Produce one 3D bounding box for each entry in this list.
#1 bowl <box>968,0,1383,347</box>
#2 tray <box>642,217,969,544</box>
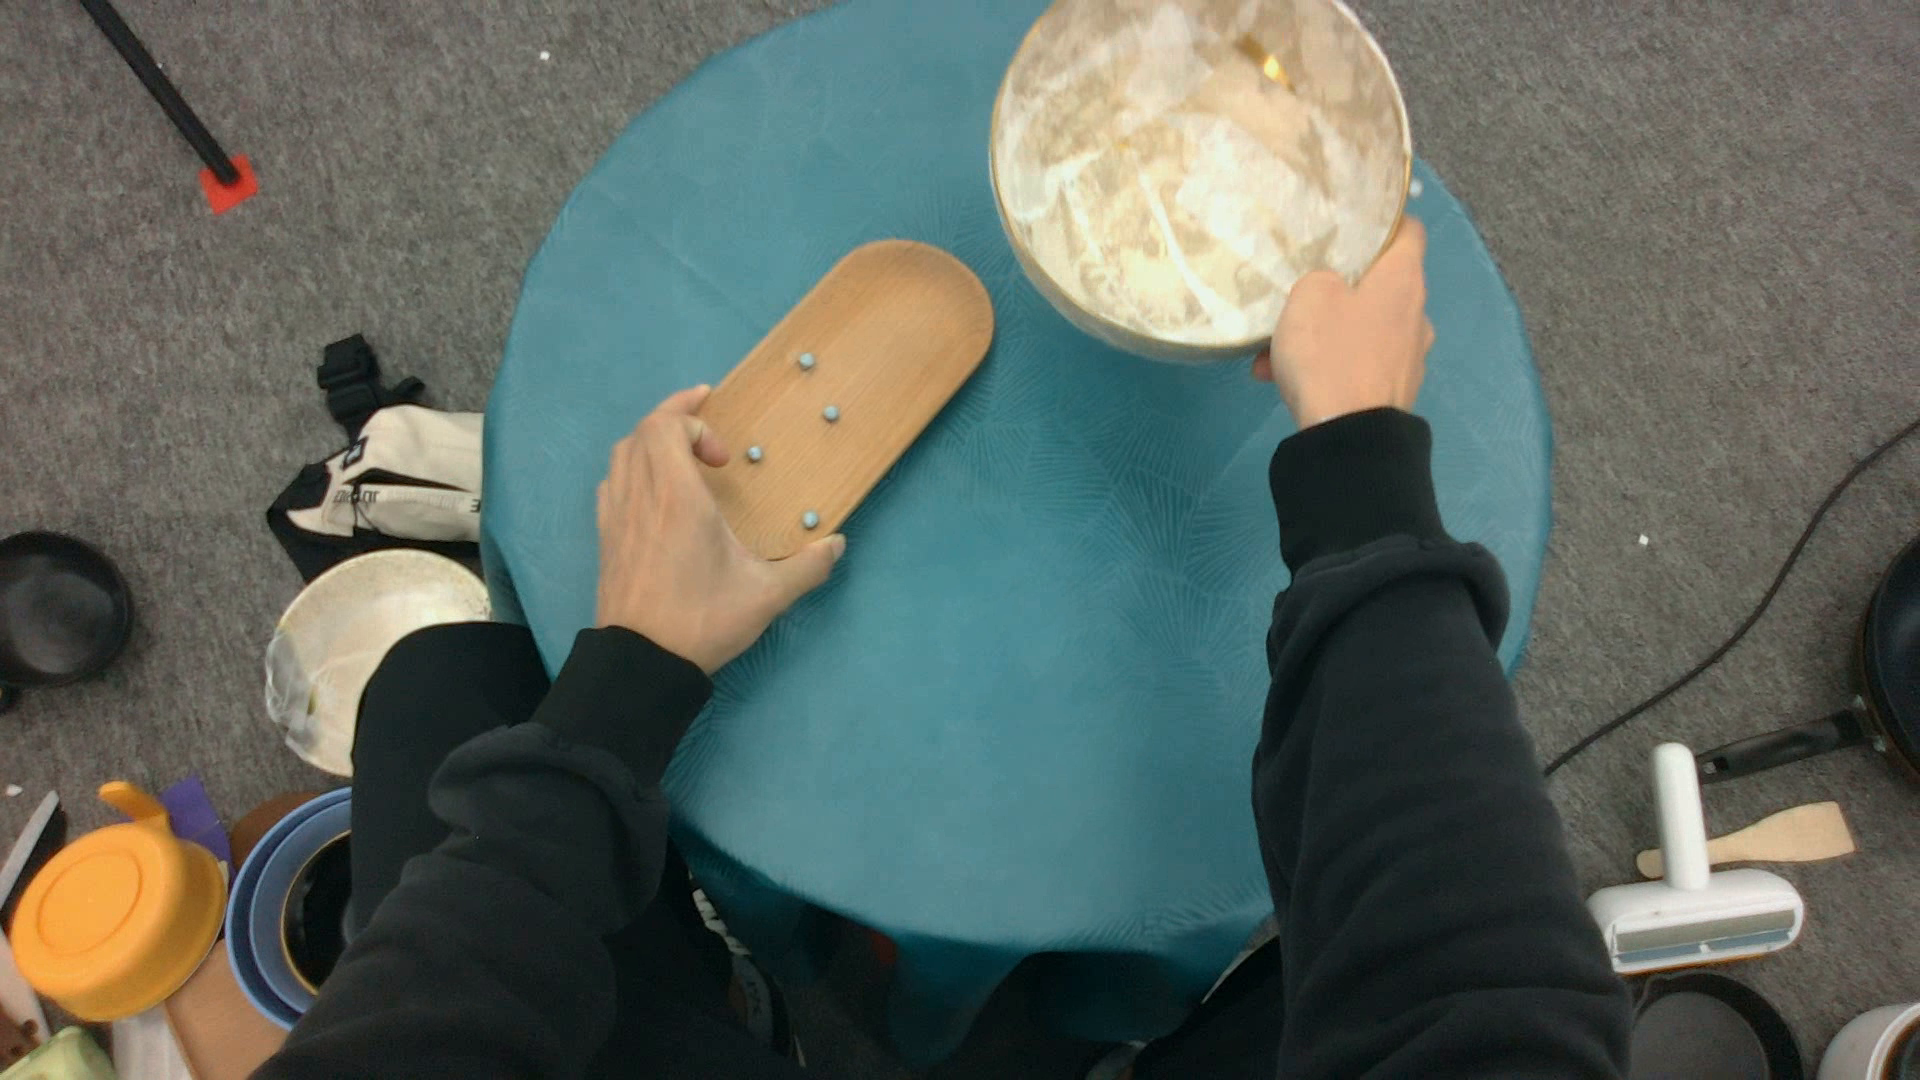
[{"bbox_3d":[0.099,-0.184,0.703,0.215,0.094,0.215,1,77,-4],"label":"bowl"},{"bbox_3d":[-0.081,-0.091,0.755,0.101,0.020,0.232,35,63,4],"label":"tray"}]
